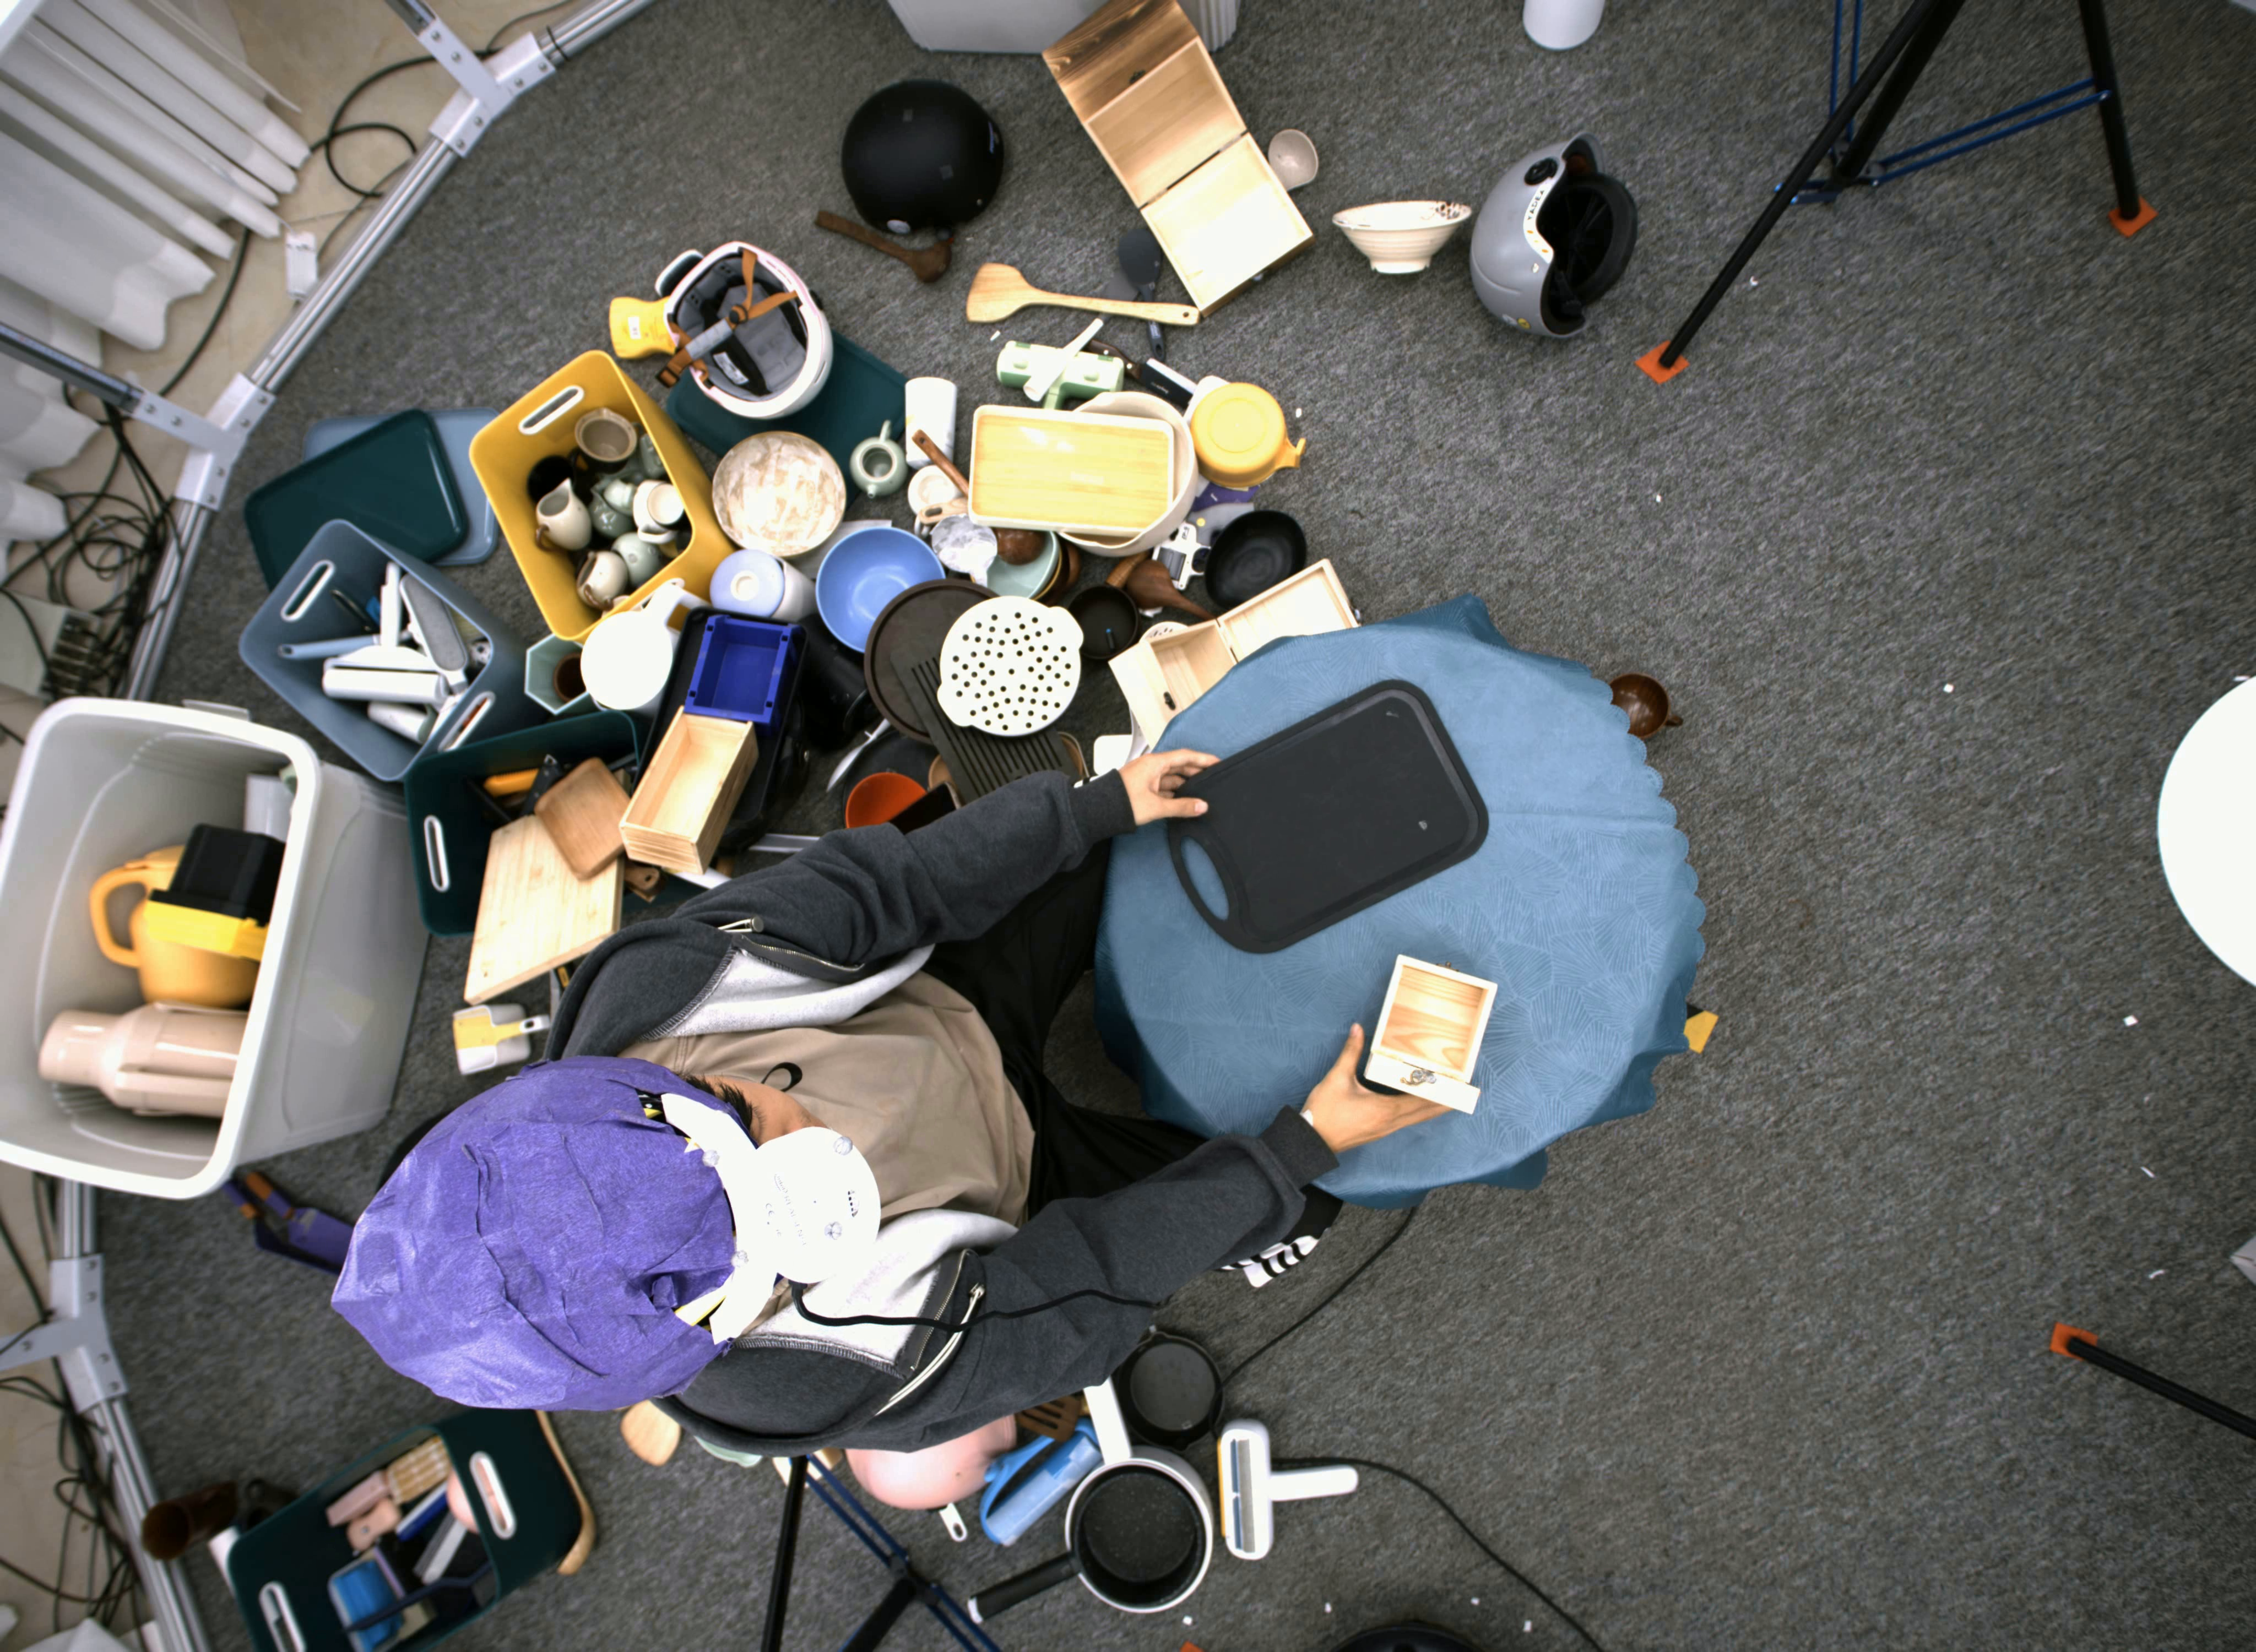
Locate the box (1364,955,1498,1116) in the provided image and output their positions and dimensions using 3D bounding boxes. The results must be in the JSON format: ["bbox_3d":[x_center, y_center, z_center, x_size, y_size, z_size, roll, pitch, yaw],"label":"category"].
[{"bbox_3d":[0.299,0.197,1.354,0.103,0.184,0.134,16,89,11],"label":"box"}]

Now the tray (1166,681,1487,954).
[{"bbox_3d":[0.203,-0.006,1.465,0.327,0.010,0.210,-26,86,7],"label":"tray"}]
